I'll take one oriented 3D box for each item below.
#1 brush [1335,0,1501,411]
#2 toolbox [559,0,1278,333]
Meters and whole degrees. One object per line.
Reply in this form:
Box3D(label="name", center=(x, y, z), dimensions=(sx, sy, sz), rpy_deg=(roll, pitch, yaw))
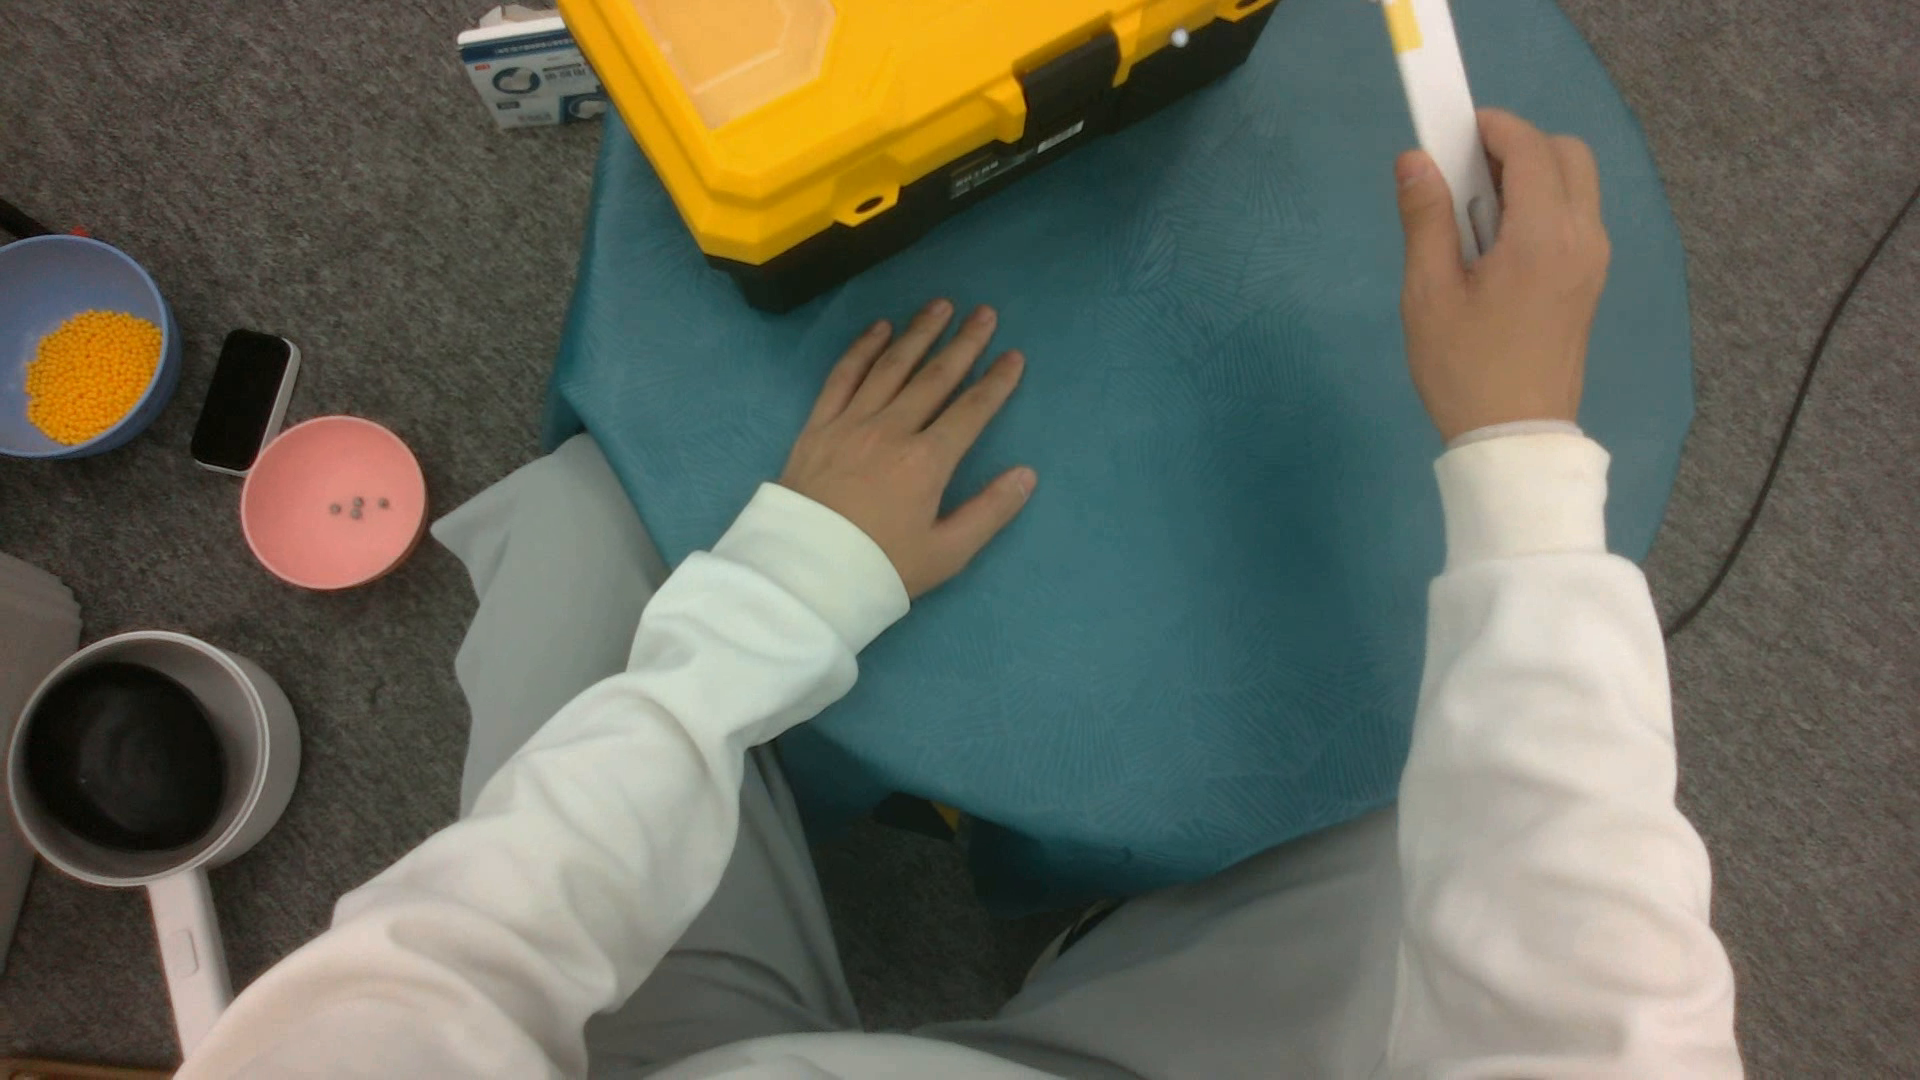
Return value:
Box3D(label="brush", center=(0.195, -0.182, 0.617), dimensions=(0.068, 0.056, 0.266), rpy_deg=(-24, 116, -4))
Box3D(label="toolbox", center=(-0.001, -0.256, 0.690), dimensions=(0.352, 0.172, 0.181), rpy_deg=(-31, 80, -8))
